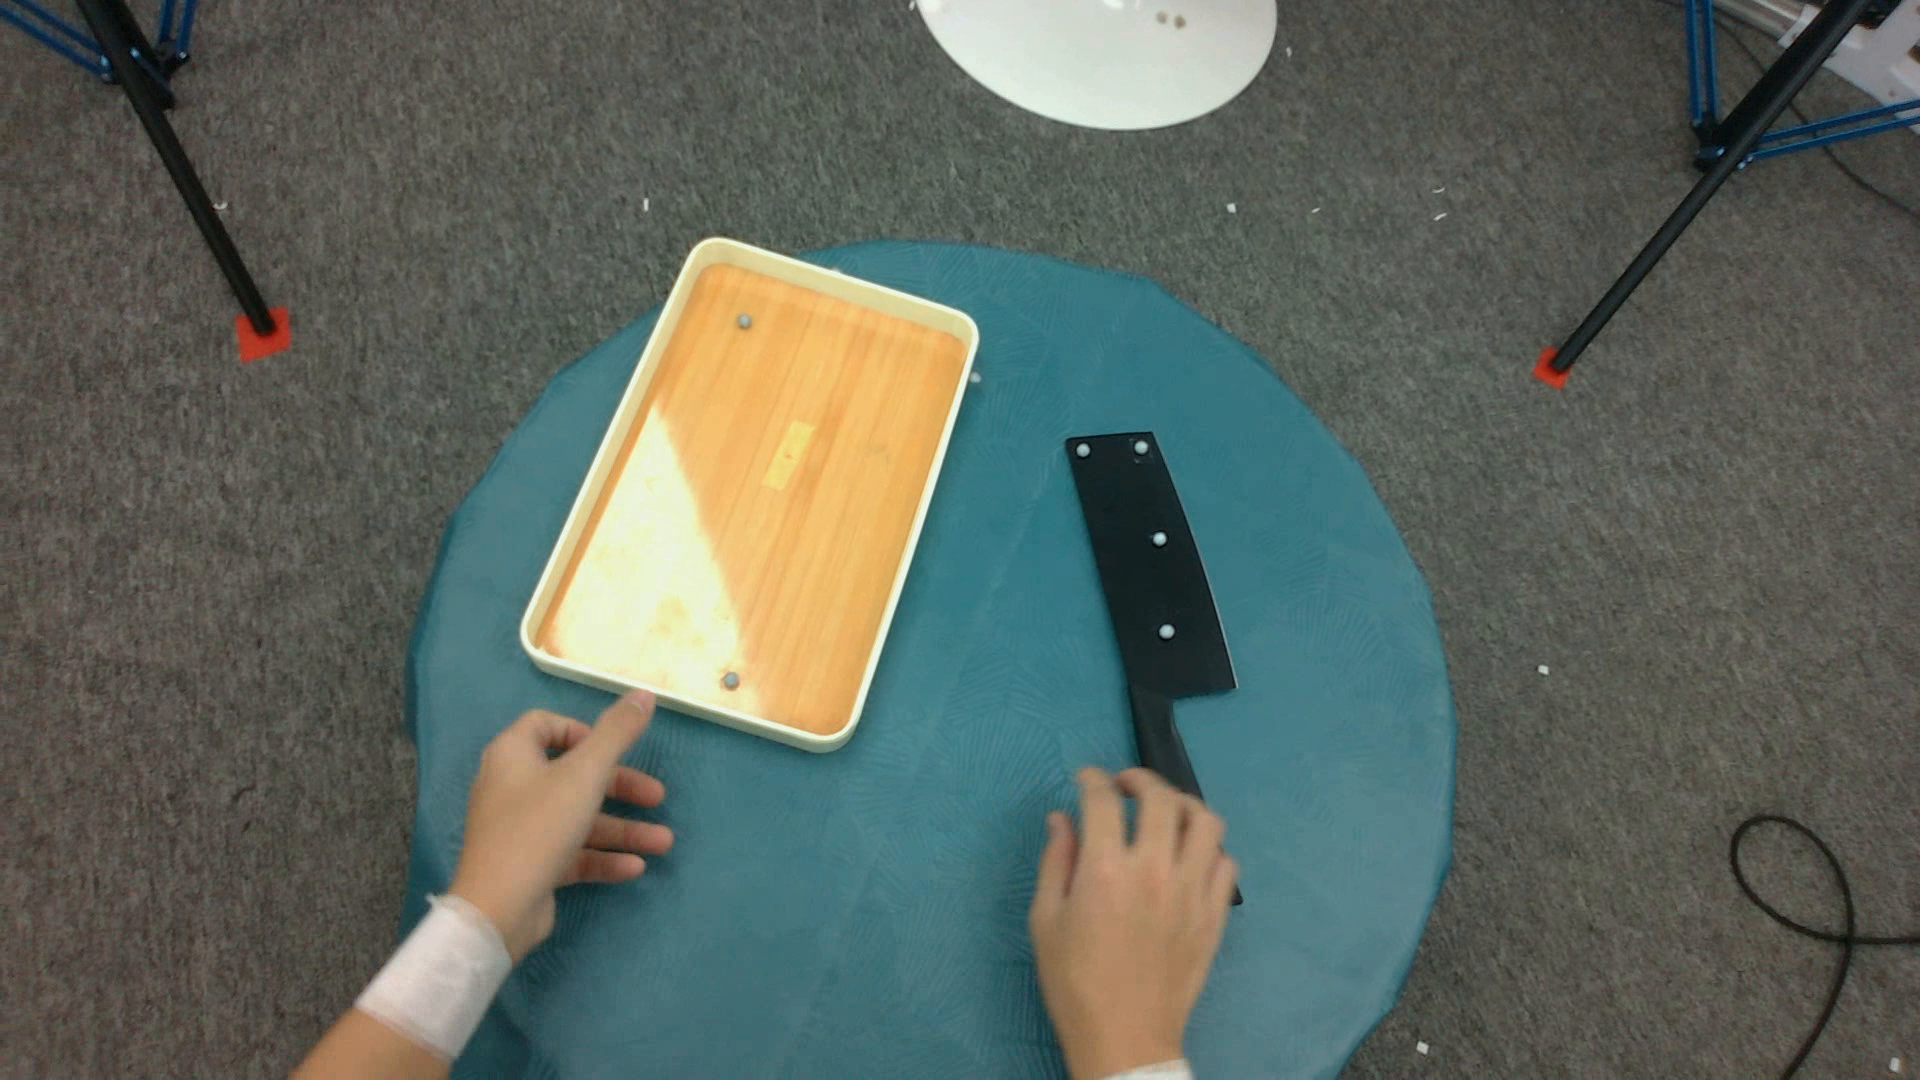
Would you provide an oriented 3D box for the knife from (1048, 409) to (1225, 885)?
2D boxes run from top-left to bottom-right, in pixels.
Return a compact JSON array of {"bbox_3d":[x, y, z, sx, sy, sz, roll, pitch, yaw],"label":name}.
[{"bbox_3d":[0.112,0.052,0.814,0.081,0.021,0.303,-3,64,-11],"label":"knife"}]

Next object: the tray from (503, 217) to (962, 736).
[{"bbox_3d":[-0.124,-0.047,0.814,0.191,0.027,0.301,17,64,-1],"label":"tray"}]
